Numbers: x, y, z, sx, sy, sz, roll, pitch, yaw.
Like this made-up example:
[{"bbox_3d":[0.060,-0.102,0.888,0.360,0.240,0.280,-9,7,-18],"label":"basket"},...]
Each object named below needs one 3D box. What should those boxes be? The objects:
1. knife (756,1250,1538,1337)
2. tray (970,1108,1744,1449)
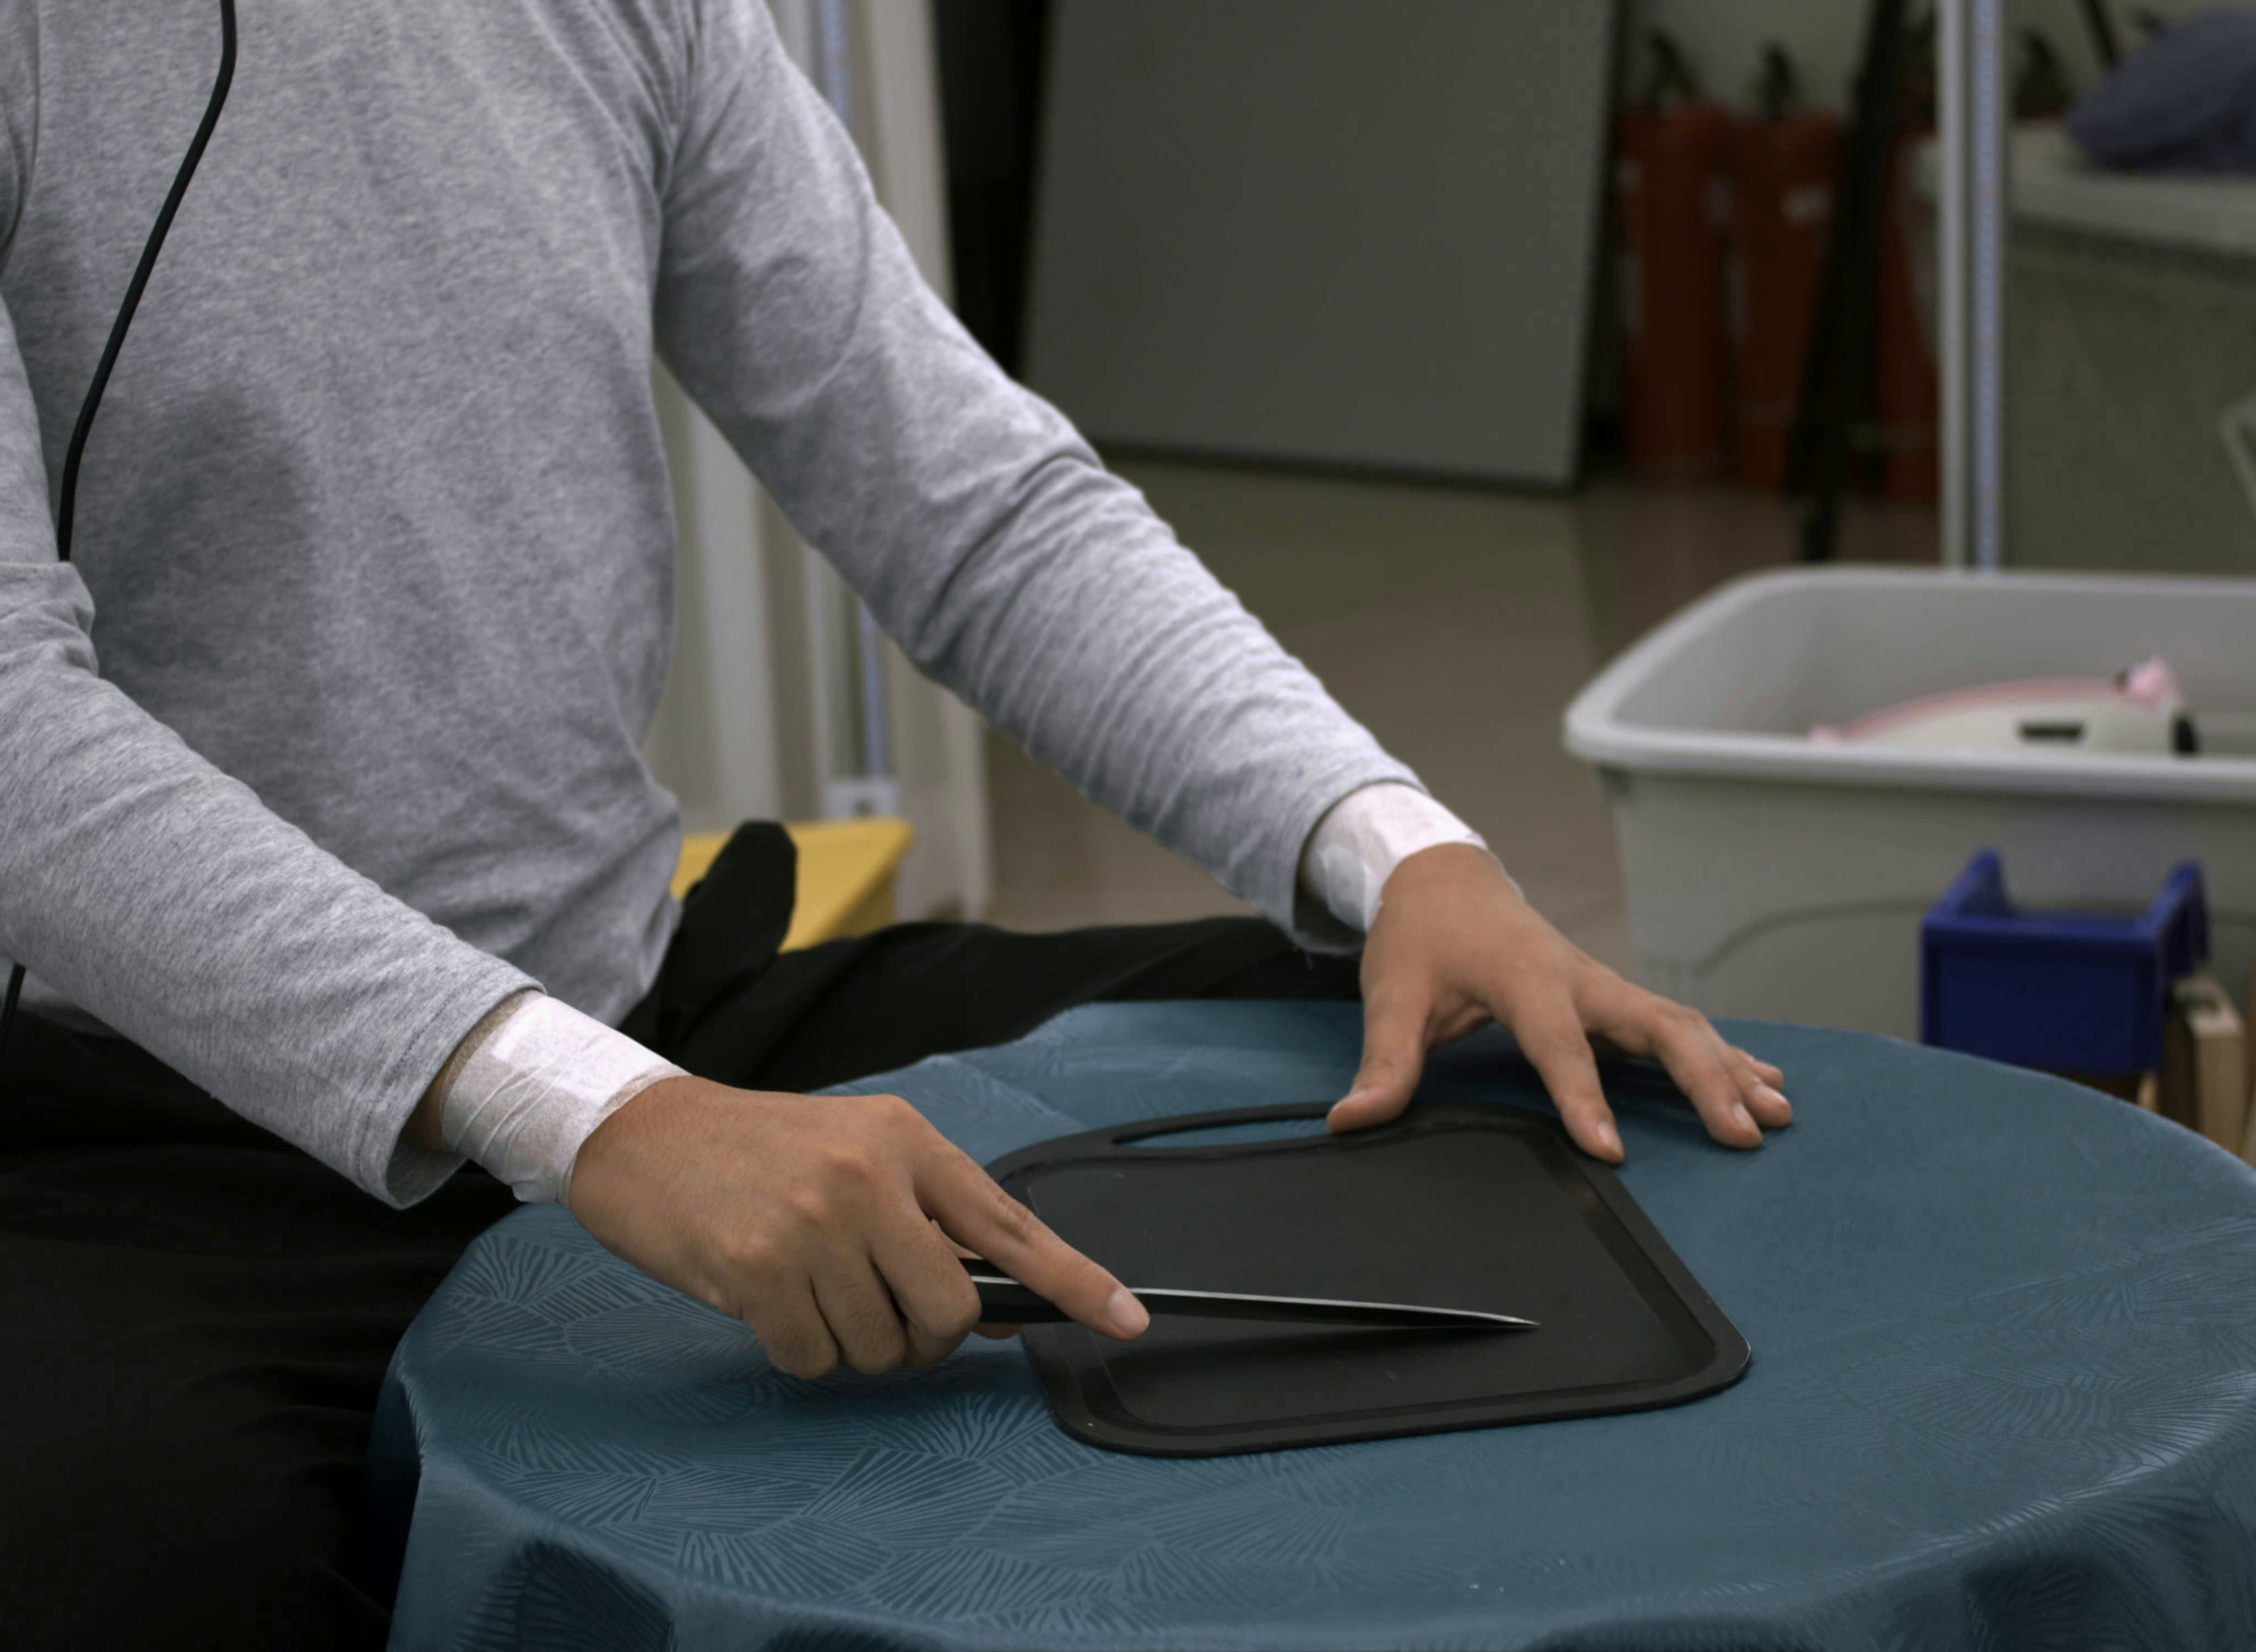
[{"bbox_3d":[0.007,0.142,1.609,0.235,0.016,0.024,5,-19,-1],"label":"knife"},{"bbox_3d":[0.063,0.135,1.689,0.208,0.010,0.327,-5,13,-6],"label":"tray"}]
